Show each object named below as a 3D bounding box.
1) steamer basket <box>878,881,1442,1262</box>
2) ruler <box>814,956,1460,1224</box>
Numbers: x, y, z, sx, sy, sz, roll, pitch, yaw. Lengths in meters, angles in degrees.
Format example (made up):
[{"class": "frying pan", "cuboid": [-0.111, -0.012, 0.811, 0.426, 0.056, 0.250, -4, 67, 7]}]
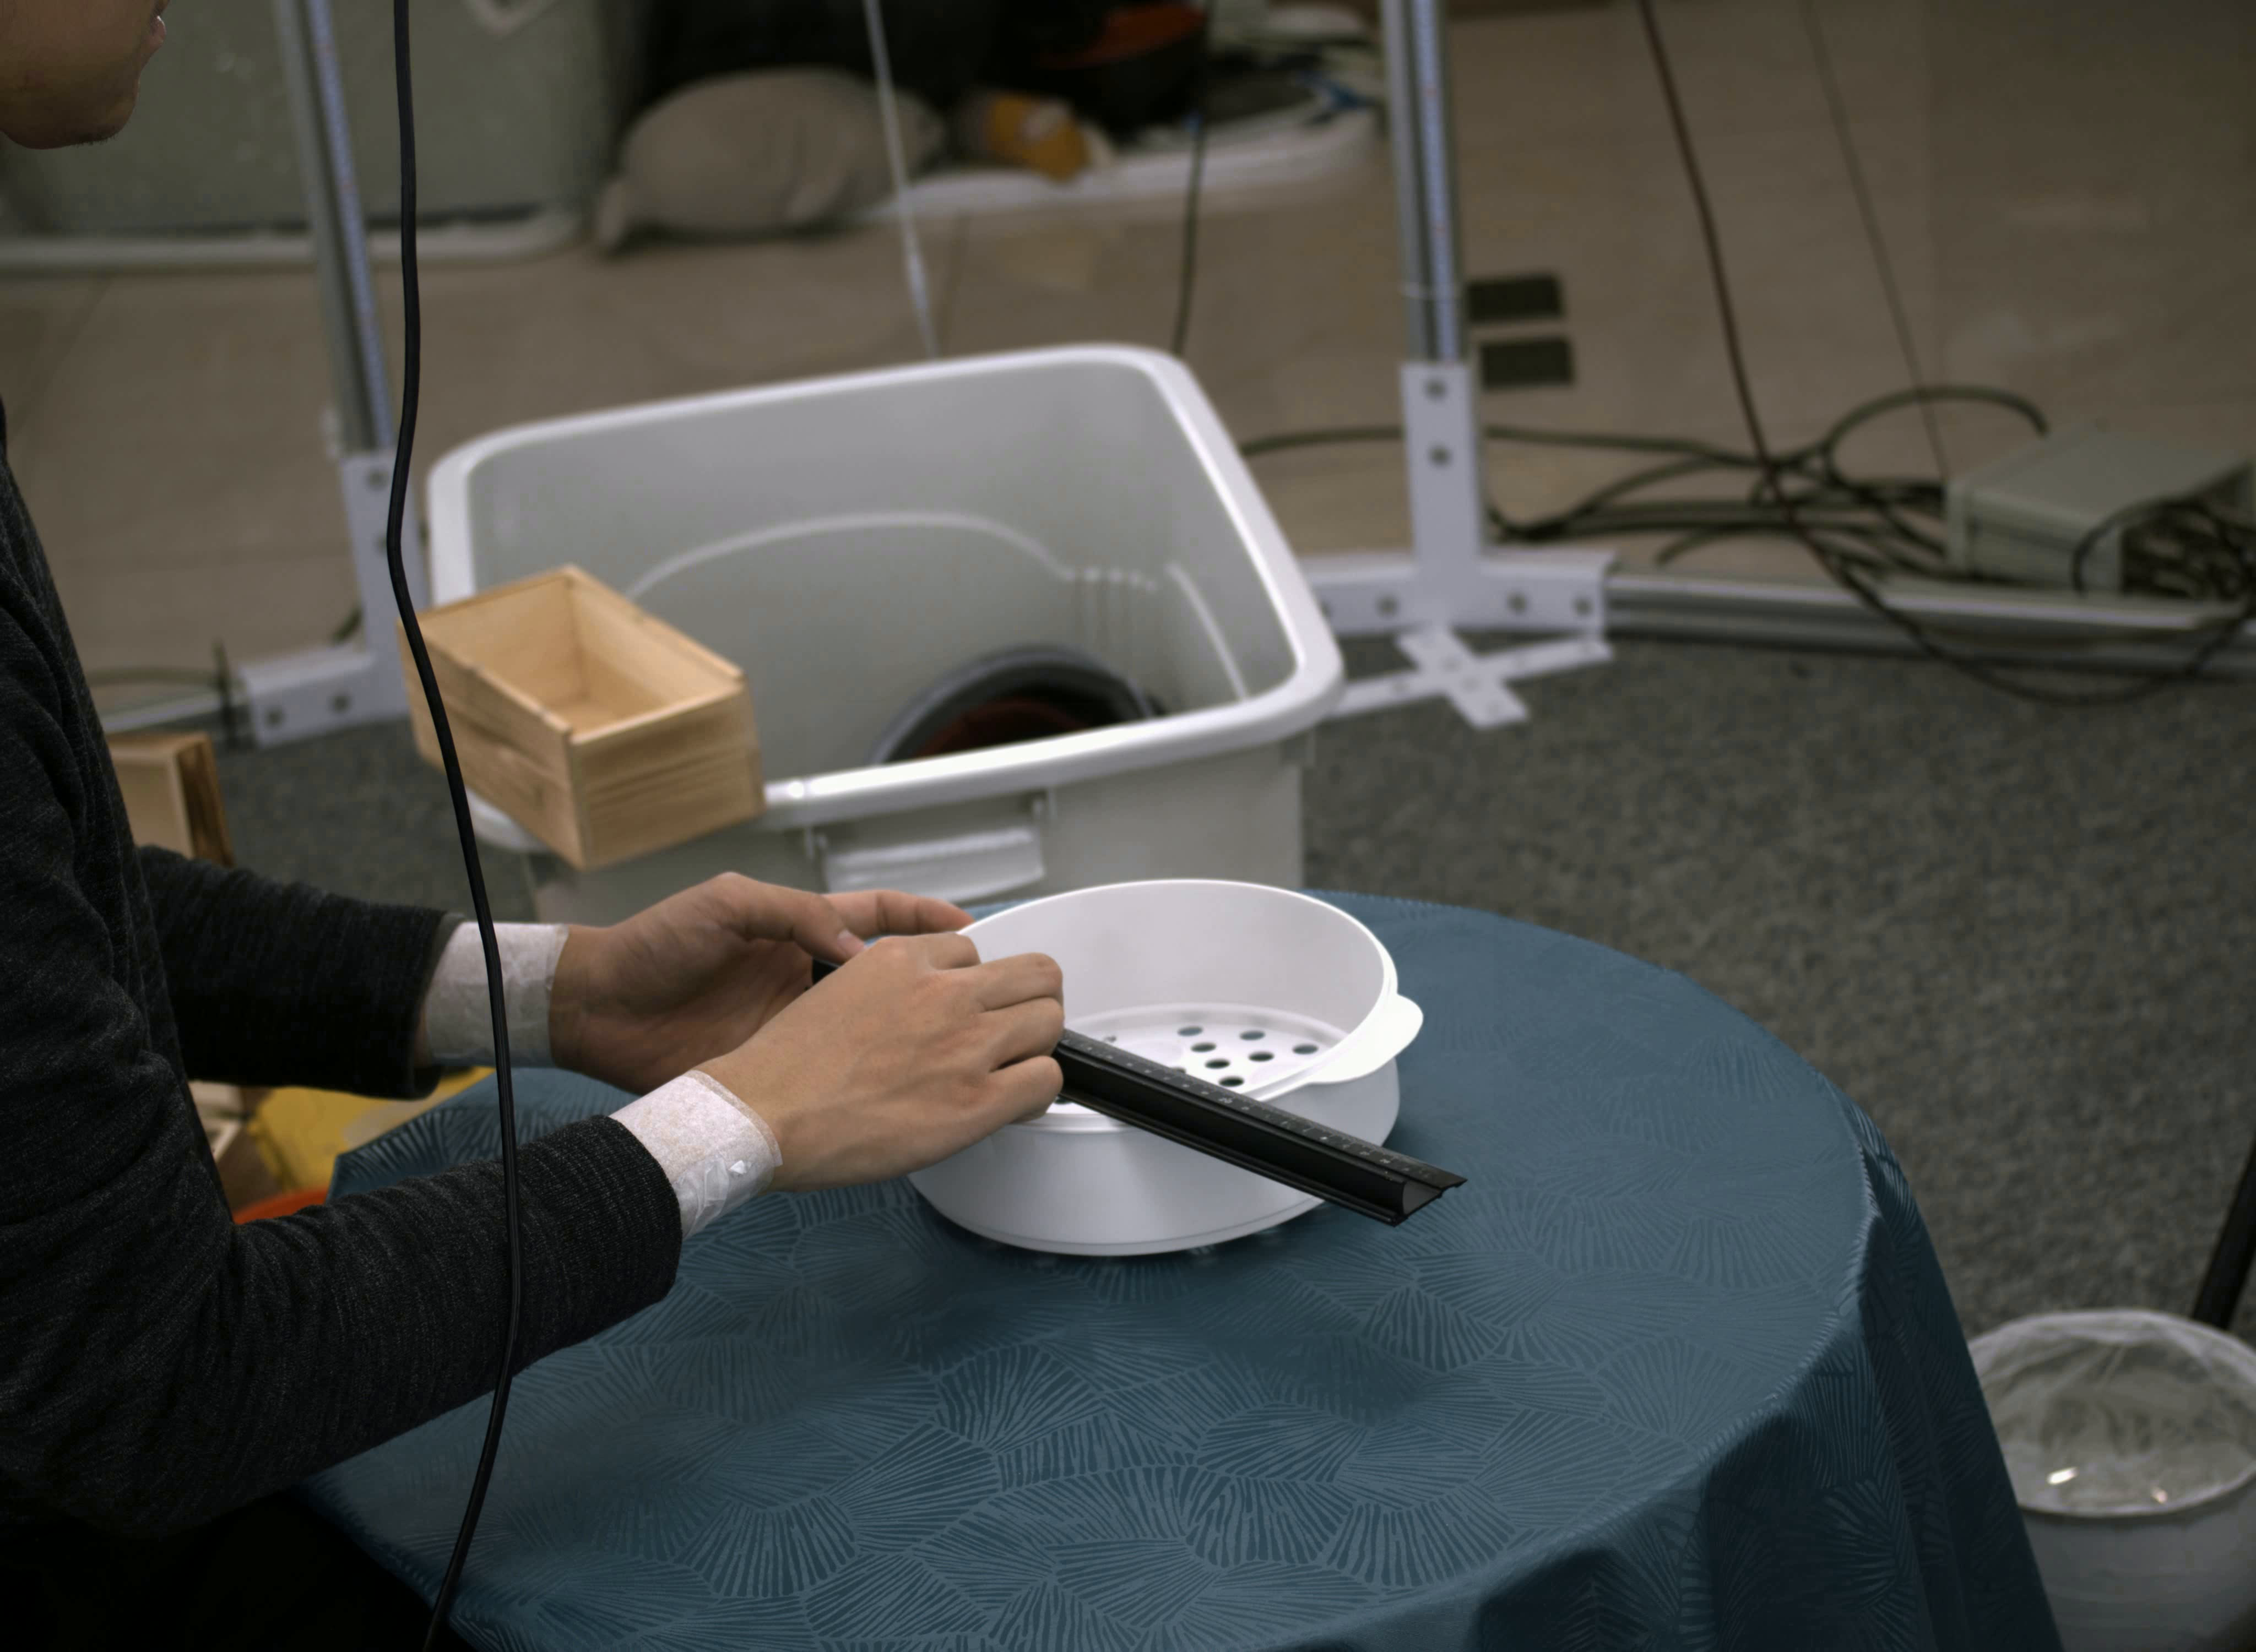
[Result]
[{"class": "steamer basket", "cuboid": [0.010, 0.093, 2.161, 0.229, 0.070, 0.199, 10, 30, 28]}, {"class": "ruler", "cuboid": [-0.002, 0.088, 2.078, 0.039, 0.017, 0.310, -27, 32, -36]}]
